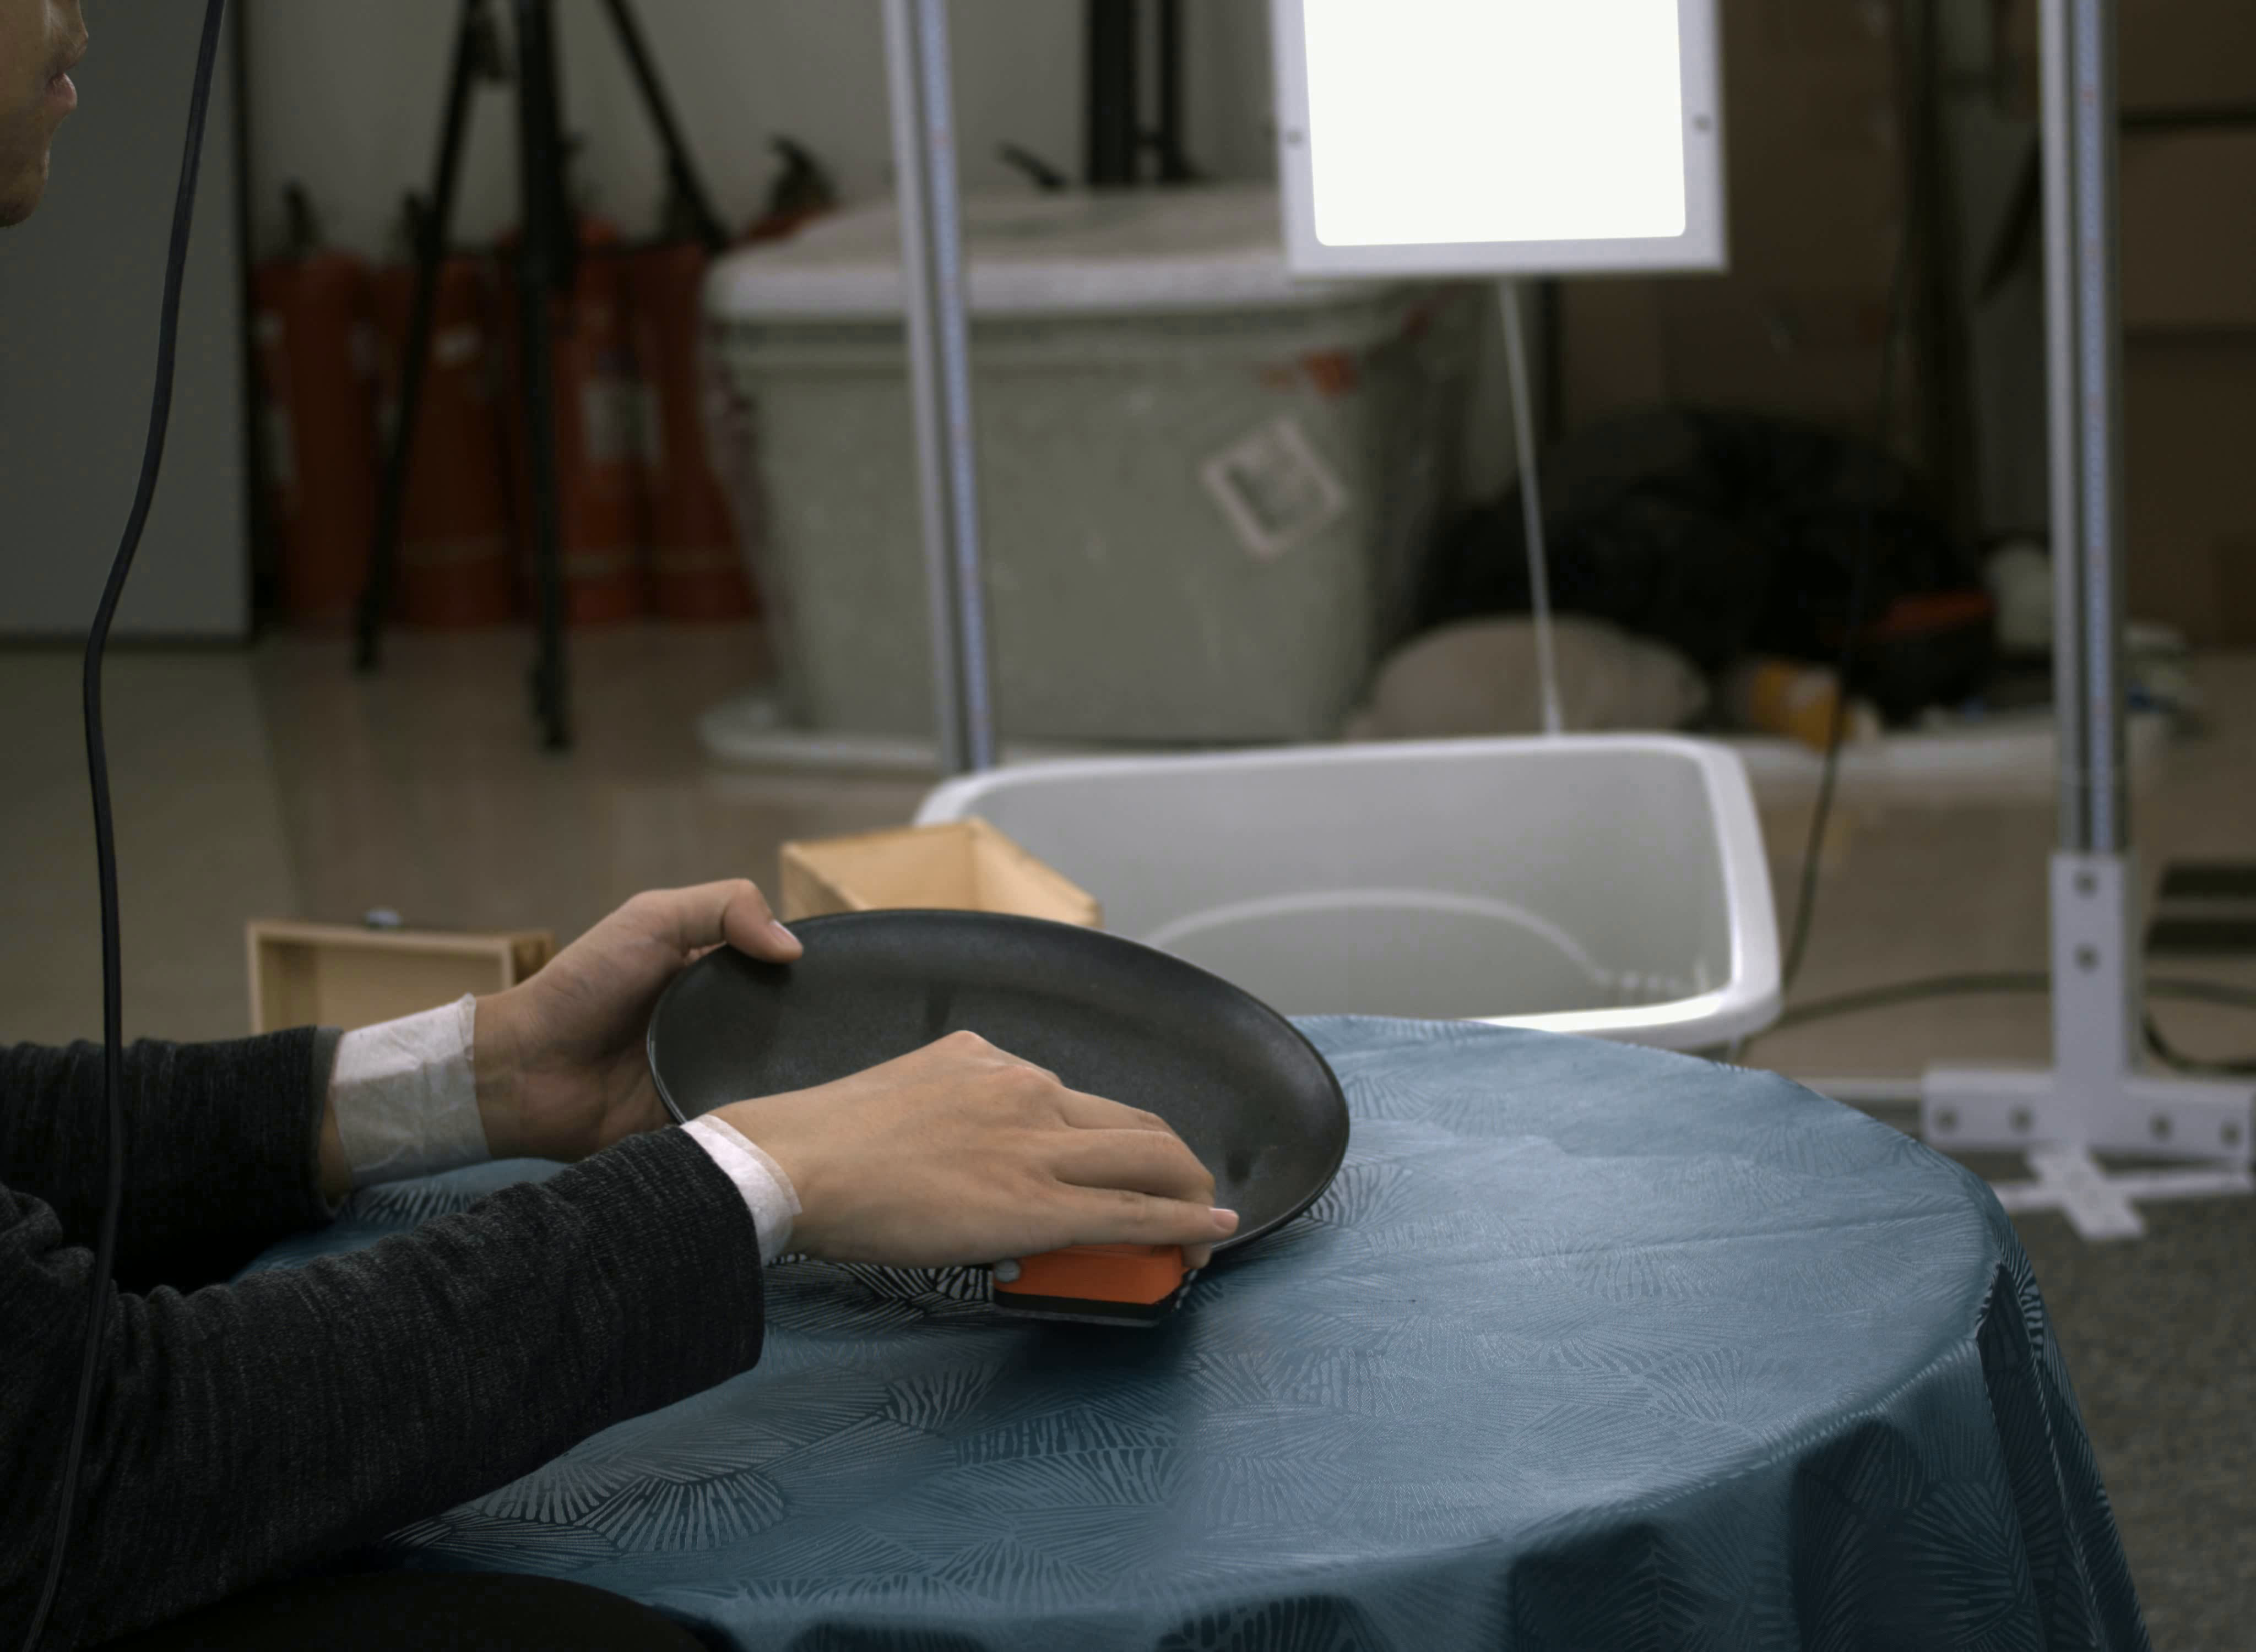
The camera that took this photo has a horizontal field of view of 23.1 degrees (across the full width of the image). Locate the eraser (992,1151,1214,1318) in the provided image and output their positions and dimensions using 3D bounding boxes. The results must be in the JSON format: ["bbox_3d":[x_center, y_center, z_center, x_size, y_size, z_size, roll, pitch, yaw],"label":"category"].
[{"bbox_3d":[-0.007,0.130,1.765,0.059,0.023,0.107,-4,13,12],"label":"eraser"}]

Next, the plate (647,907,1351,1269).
[{"bbox_3d":[-0.045,0.094,1.887,0.243,0.023,0.244,5,27,-4],"label":"plate"}]
